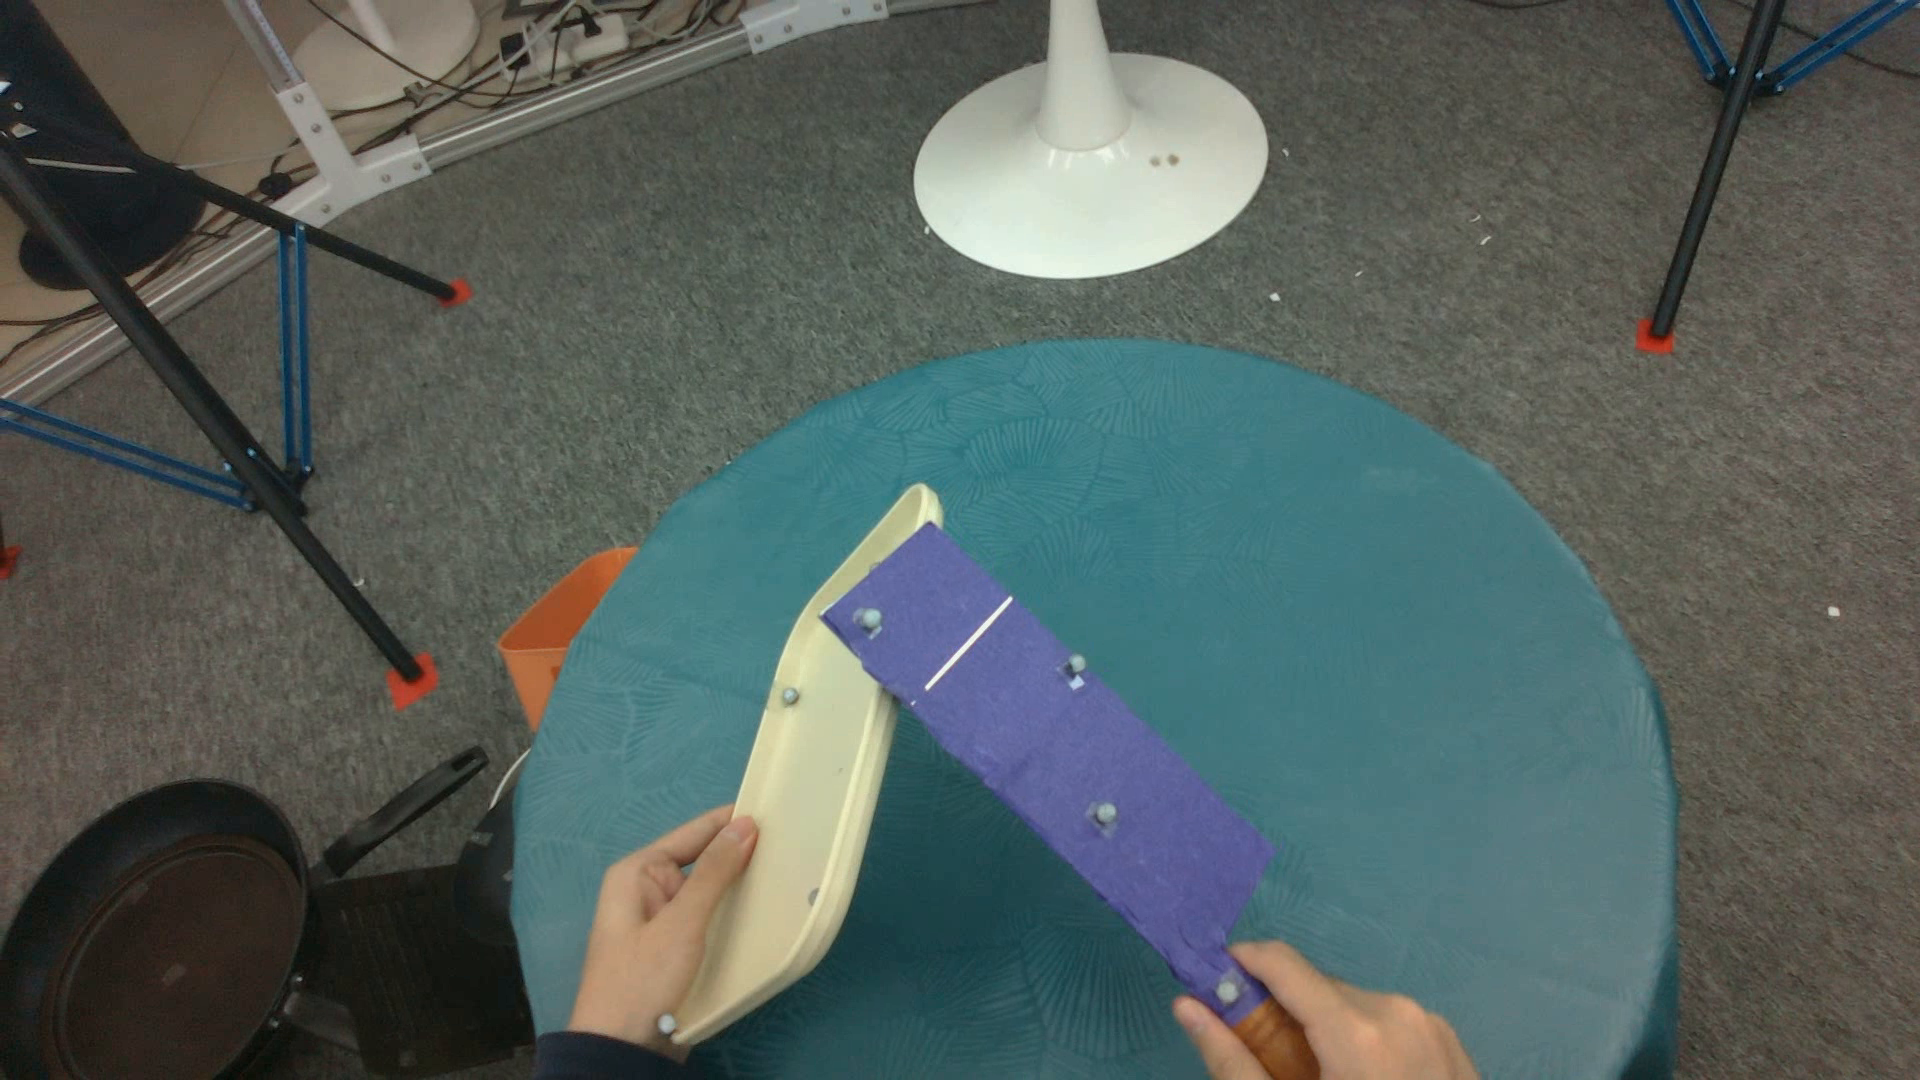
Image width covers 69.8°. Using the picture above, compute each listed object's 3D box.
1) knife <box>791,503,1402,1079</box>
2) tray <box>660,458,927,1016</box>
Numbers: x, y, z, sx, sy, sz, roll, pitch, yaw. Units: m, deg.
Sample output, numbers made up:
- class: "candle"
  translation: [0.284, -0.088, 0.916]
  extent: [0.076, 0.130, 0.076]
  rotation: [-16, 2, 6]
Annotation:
- class: "knife"
  translation: [0.071, 0.104, 0.564]
  extent: [0.315, 0.032, 0.104]
  rotation: [45, 42, 3]
- class: "tray"
  translation: [-0.072, 0.086, 0.624]
  extent: [0.017, 0.170, 0.241]
  rotation: [26, 50, -18]
